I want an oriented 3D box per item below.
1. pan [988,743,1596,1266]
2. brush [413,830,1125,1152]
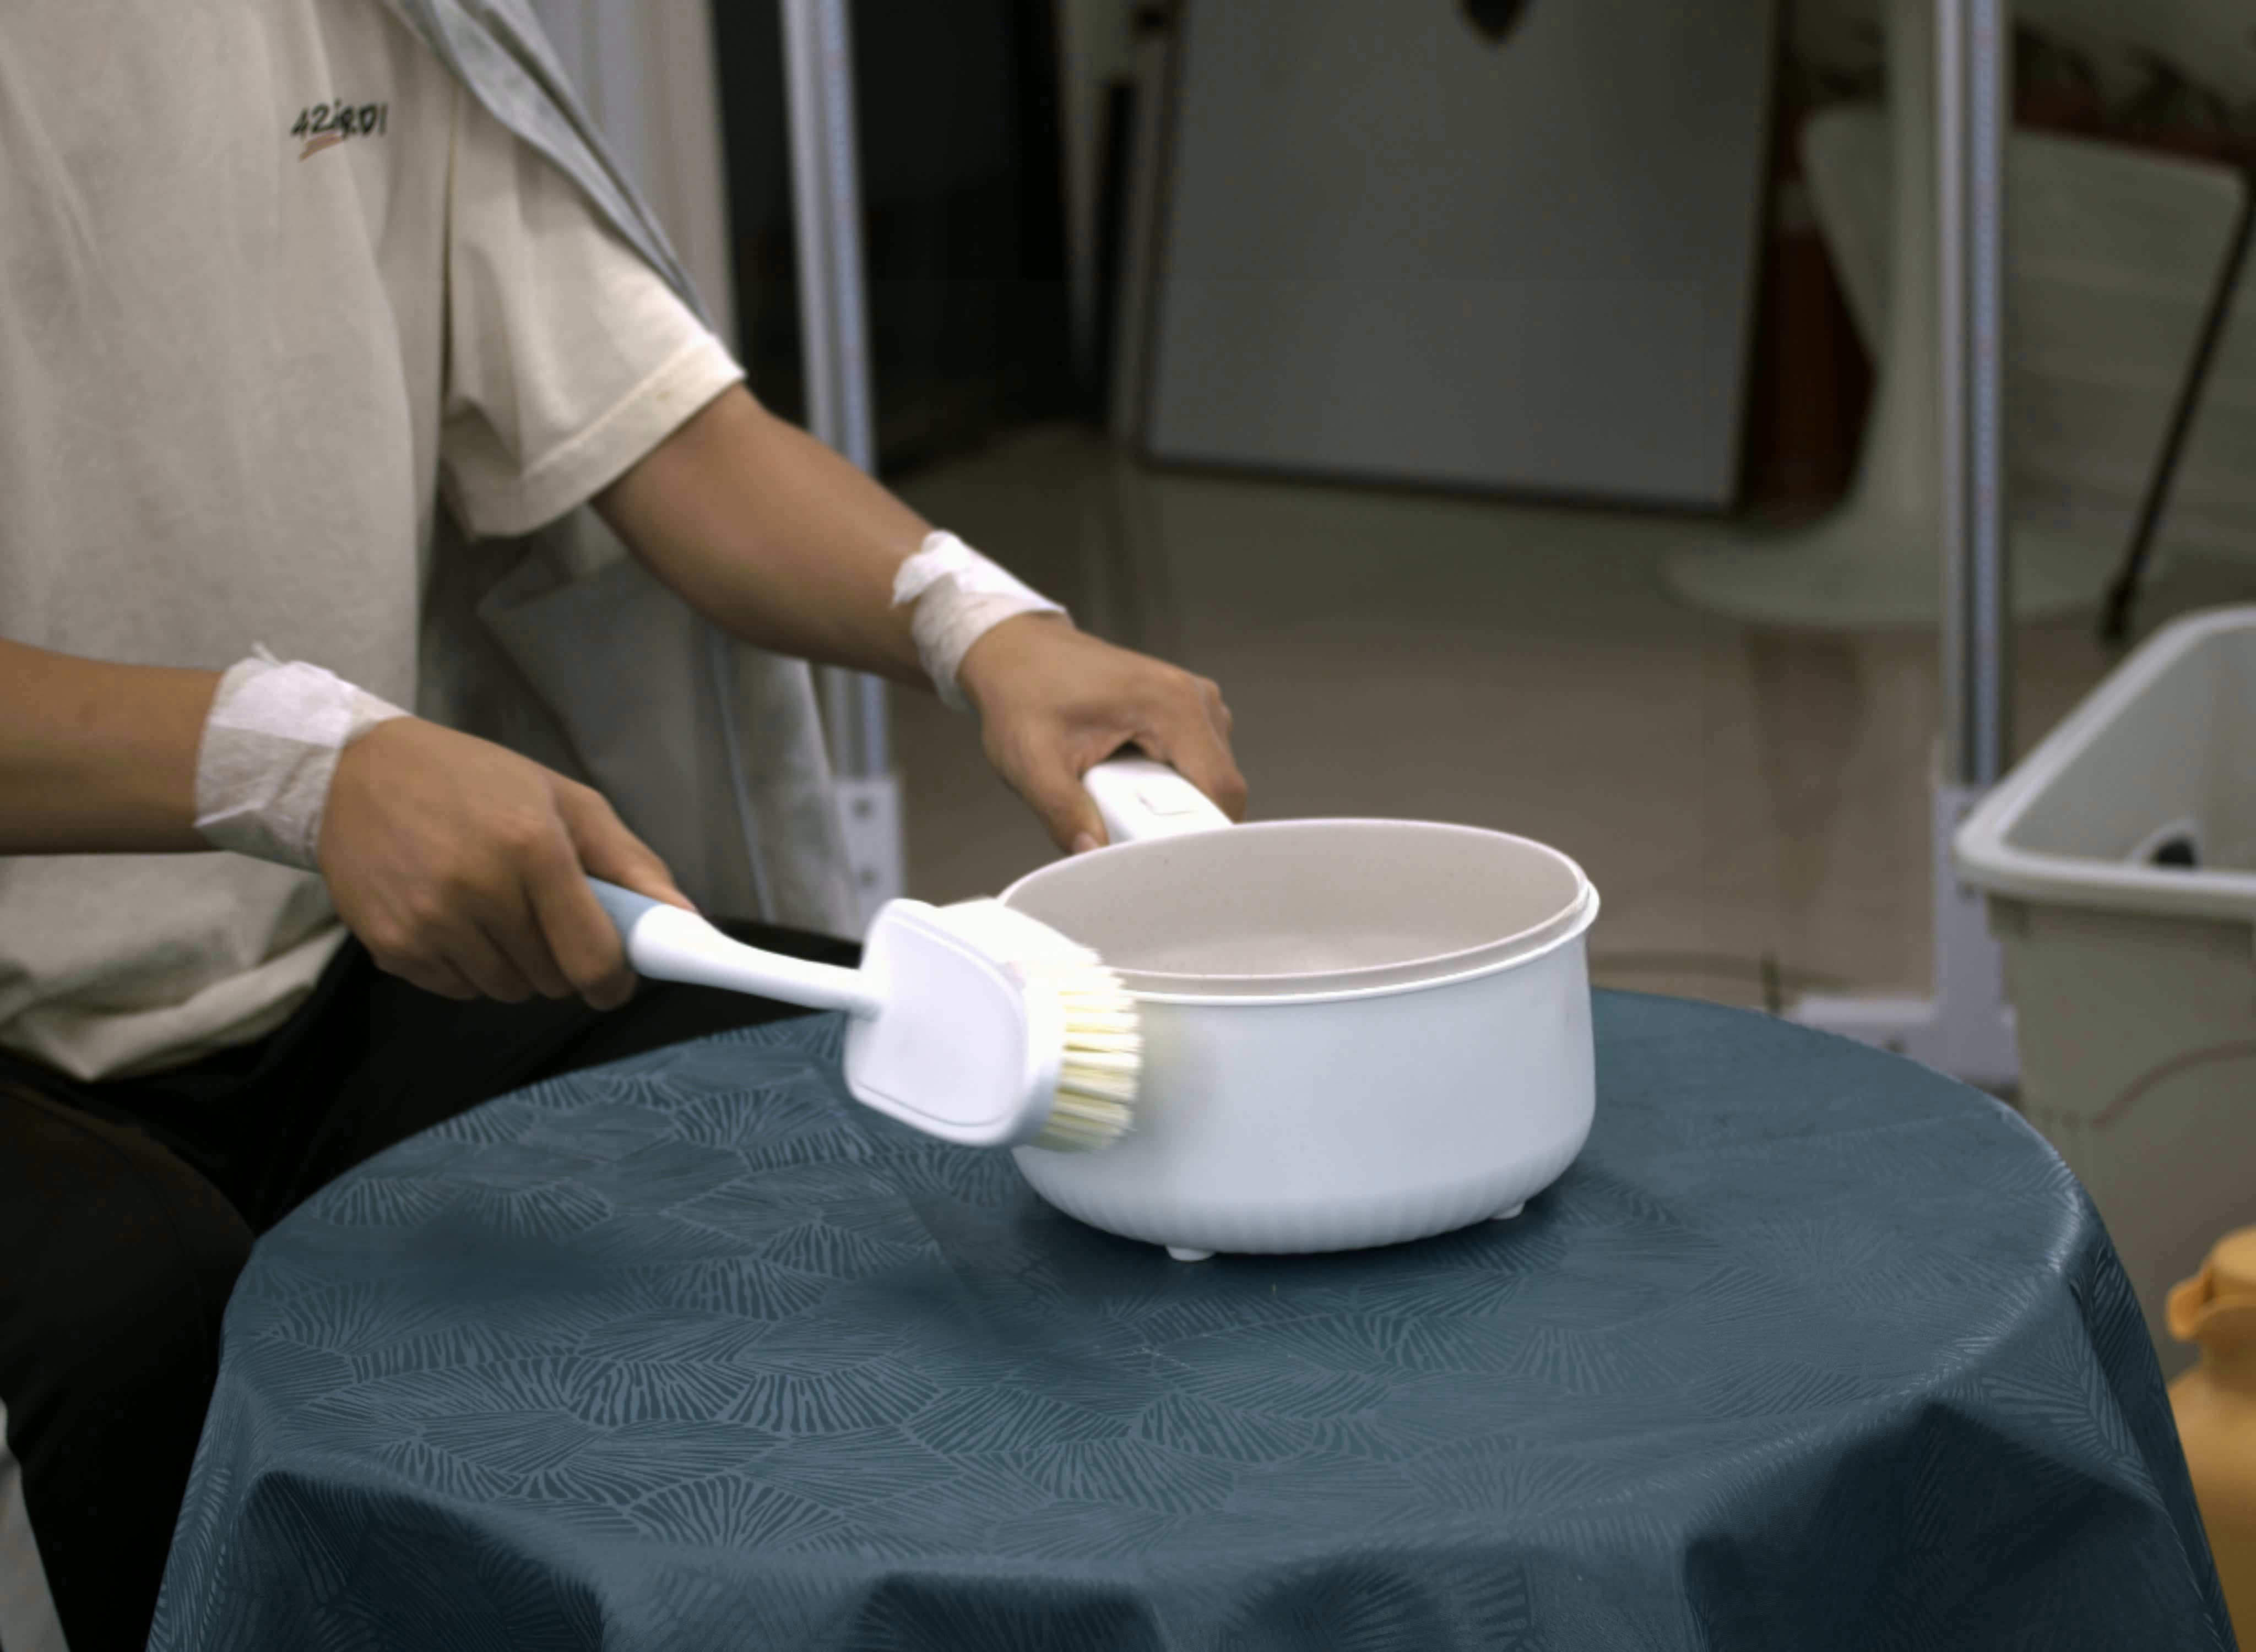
[{"bbox_3d":[0.037,0.055,1.825,0.197,0.103,0.357,-7,14,-12],"label":"pan"},{"bbox_3d":[-0.107,0.041,1.750,0.329,0.084,0.083,16,60,46],"label":"brush"}]
